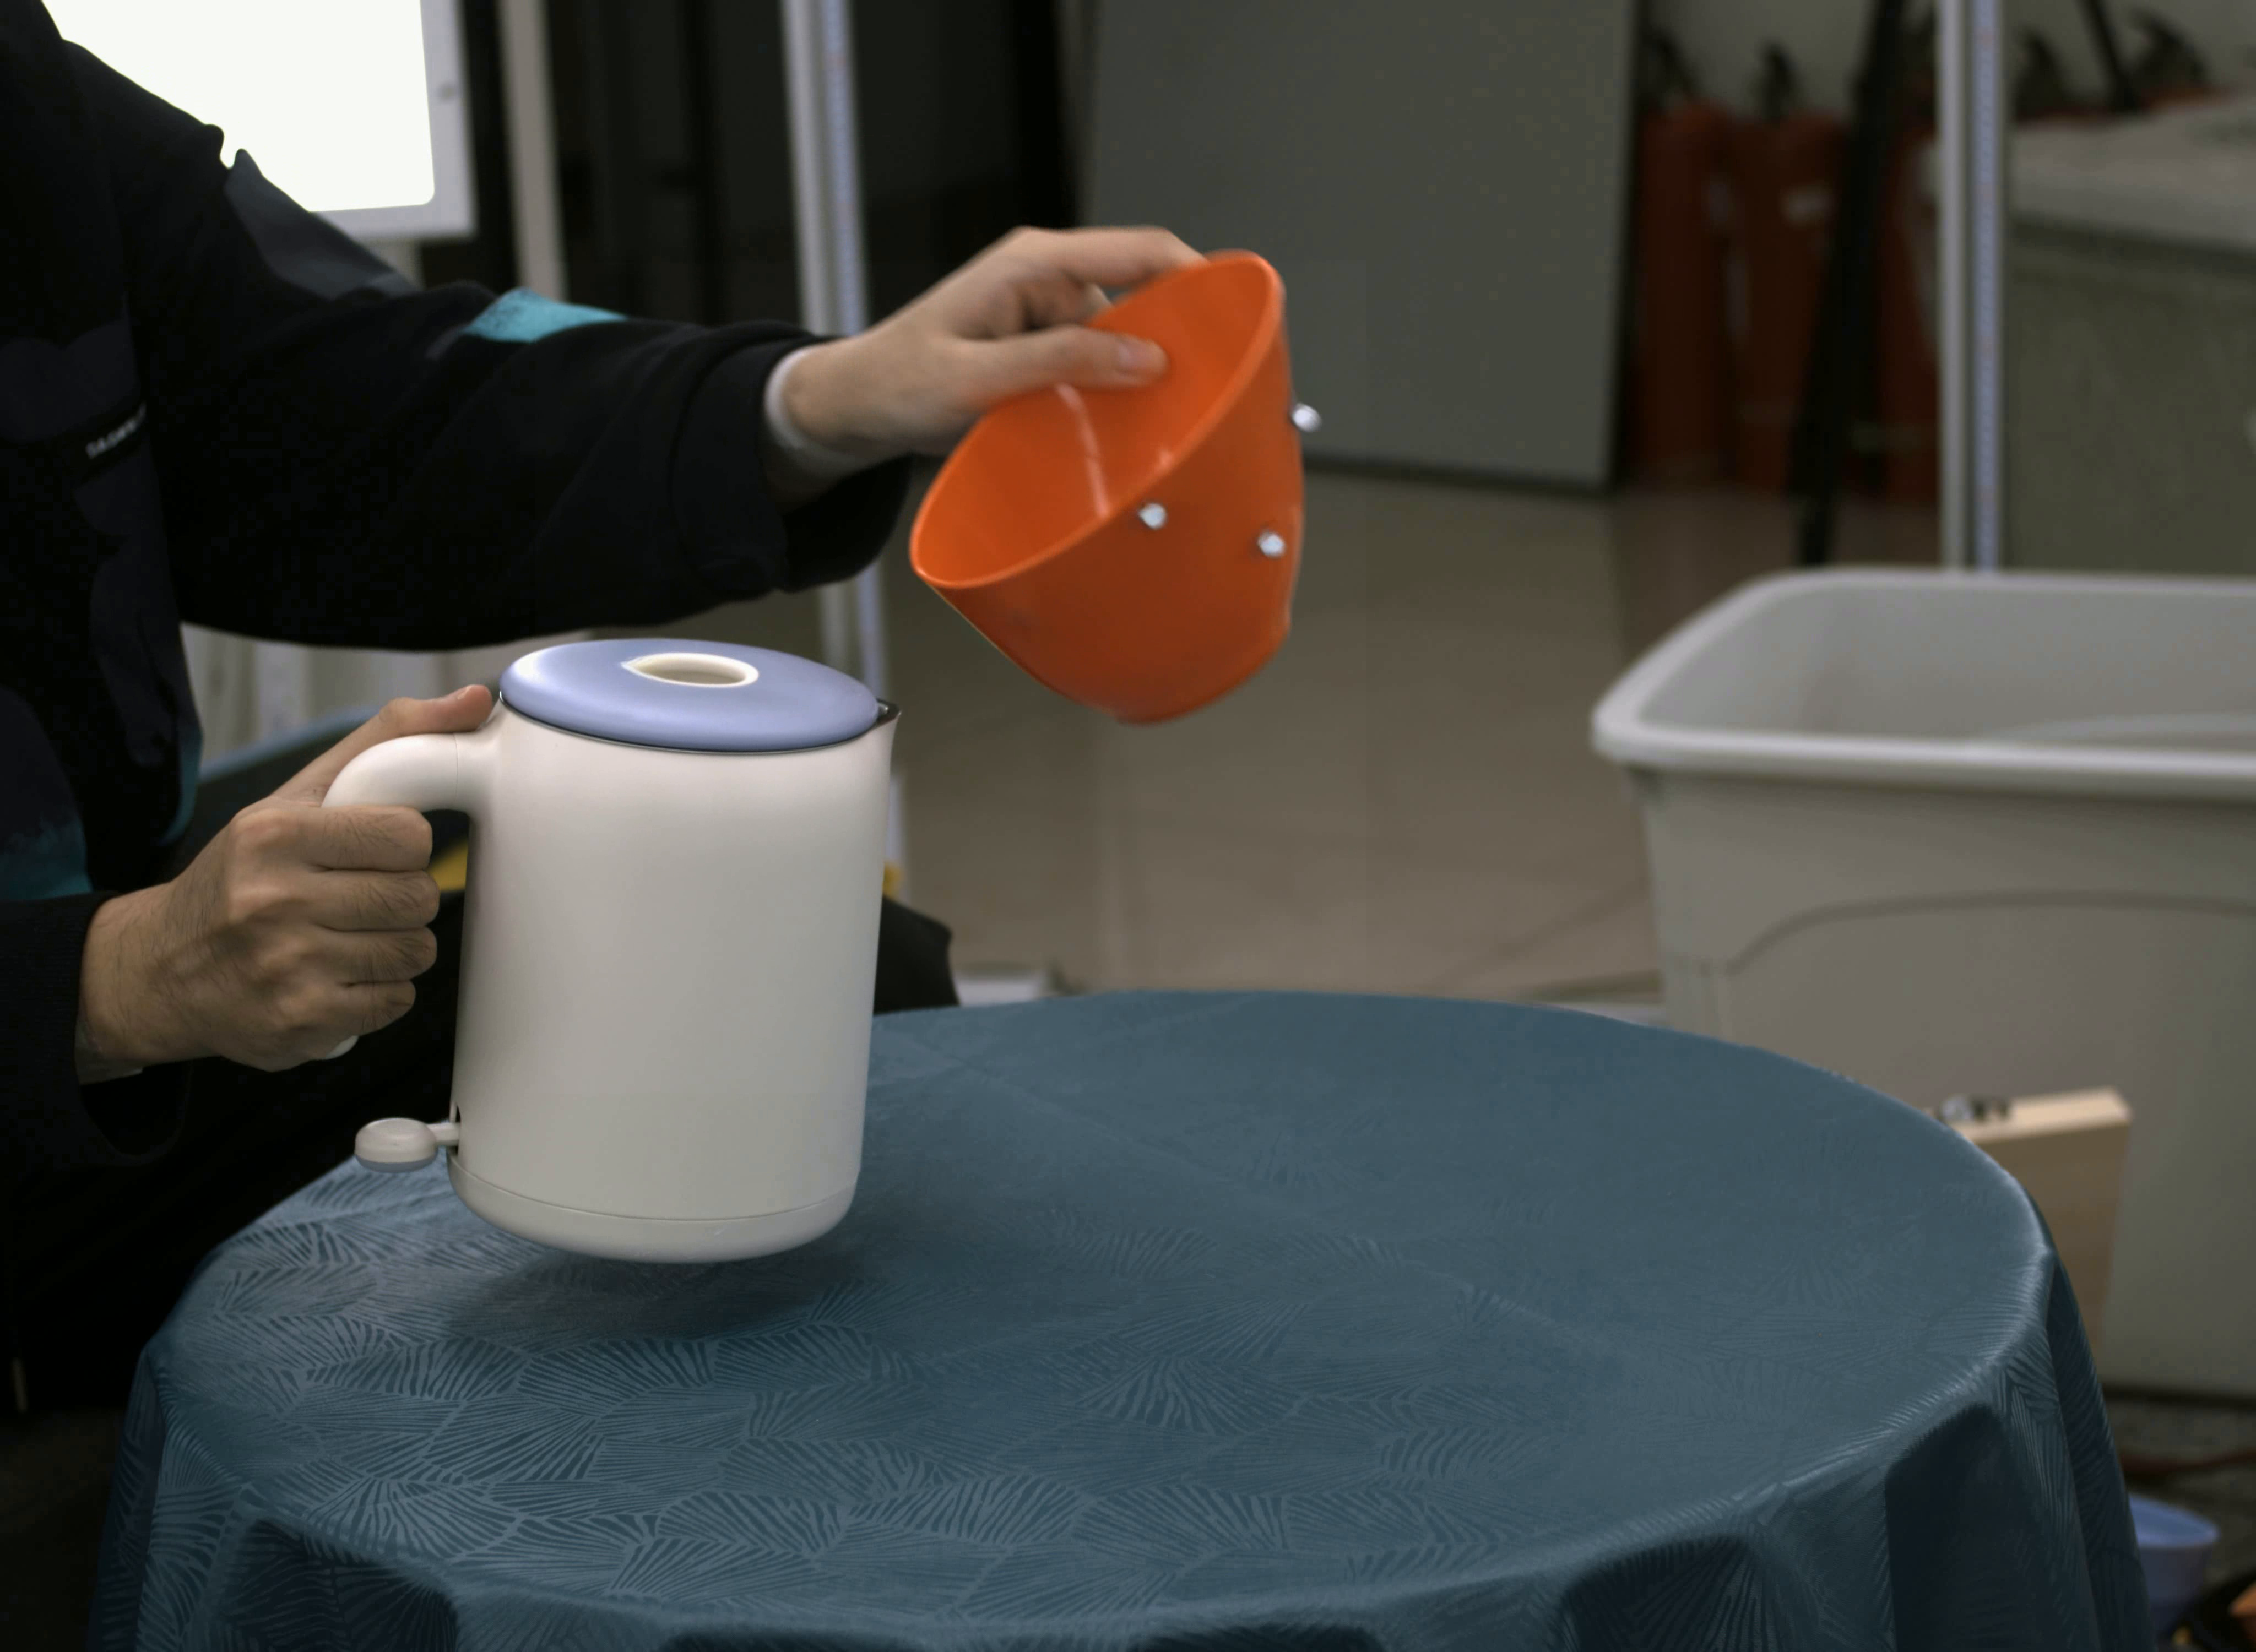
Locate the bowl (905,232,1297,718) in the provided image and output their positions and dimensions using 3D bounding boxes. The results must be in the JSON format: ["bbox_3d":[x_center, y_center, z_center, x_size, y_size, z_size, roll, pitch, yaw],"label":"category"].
[{"bbox_3d":[0.007,-0.101,1.707,0.148,0.104,0.148,-29,23,13],"label":"bowl"}]

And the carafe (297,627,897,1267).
[{"bbox_3d":[-0.164,0.038,1.680,0.187,0.184,0.133,-3,14,-18],"label":"carafe"}]
